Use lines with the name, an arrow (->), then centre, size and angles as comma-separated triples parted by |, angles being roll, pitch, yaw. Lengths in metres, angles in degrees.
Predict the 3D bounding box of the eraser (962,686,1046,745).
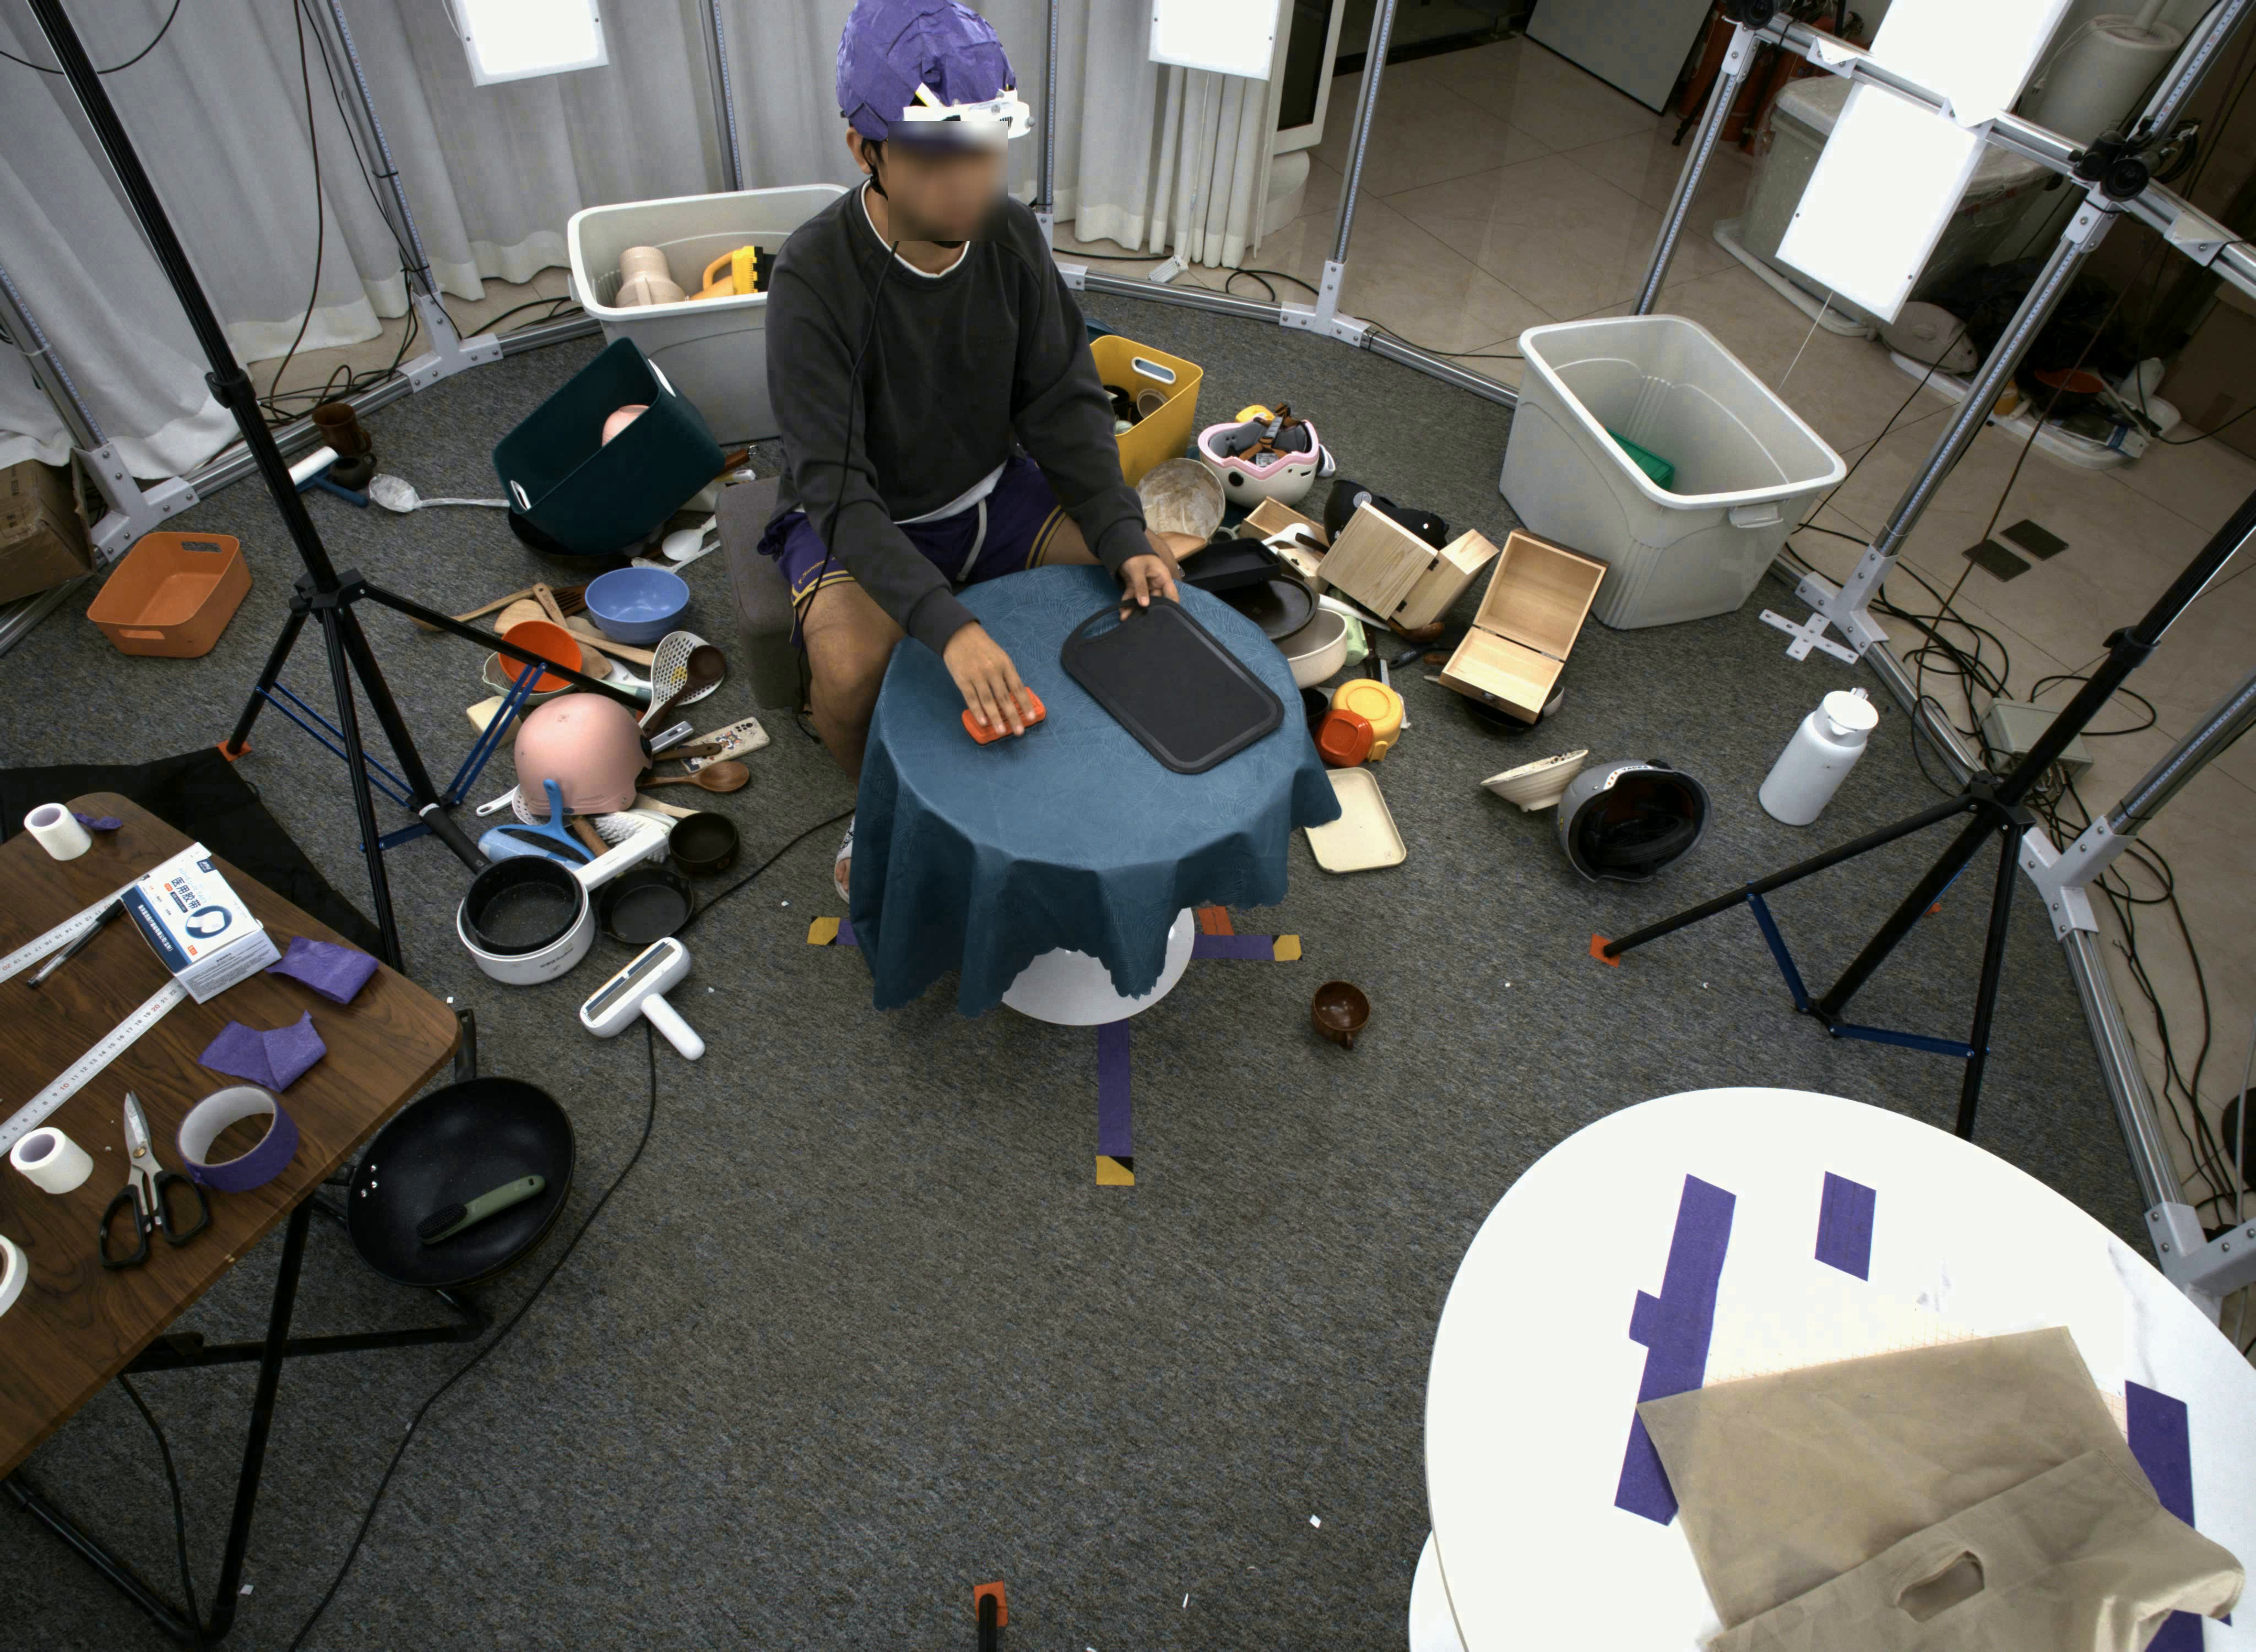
eraser -> -0.170, -0.153, 1.768 | 0.108, 0.022, 0.060 | -24, 55, -25

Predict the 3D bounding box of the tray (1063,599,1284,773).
tray -> 0.056, -0.212, 1.838 | 0.212, 0.009, 0.331 | -30, 59, -22
